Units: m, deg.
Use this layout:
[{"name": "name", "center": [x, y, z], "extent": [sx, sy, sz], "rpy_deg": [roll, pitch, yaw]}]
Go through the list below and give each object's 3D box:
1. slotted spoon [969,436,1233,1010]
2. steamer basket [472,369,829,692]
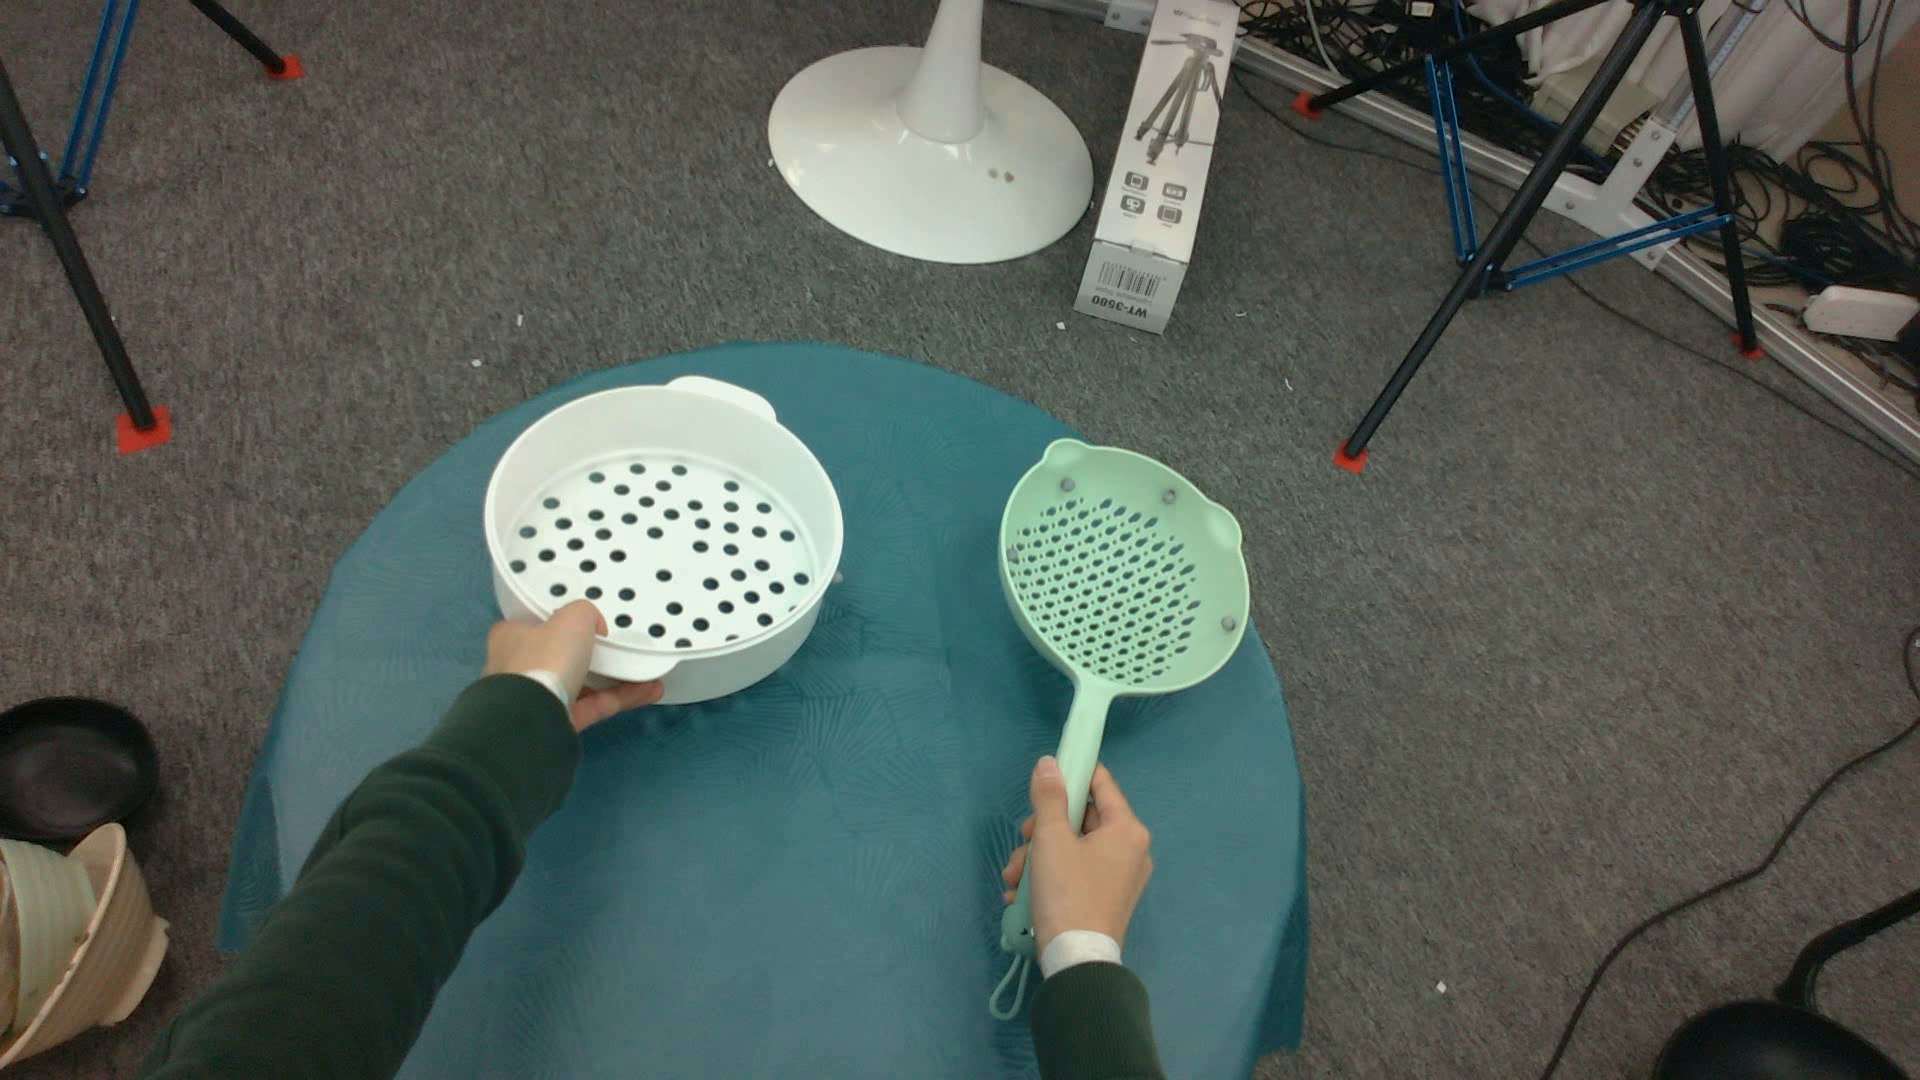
[{"name": "slotted spoon", "center": [0.064, 0.095, 0.806], "extent": [0.169, 0.075, 0.361], "rpy_deg": [24, 47, -7]}, {"name": "steamer basket", "center": [-0.183, -0.003, 0.820], "extent": [0.202, 0.069, 0.232], "rpy_deg": [16, 48, -4]}]
